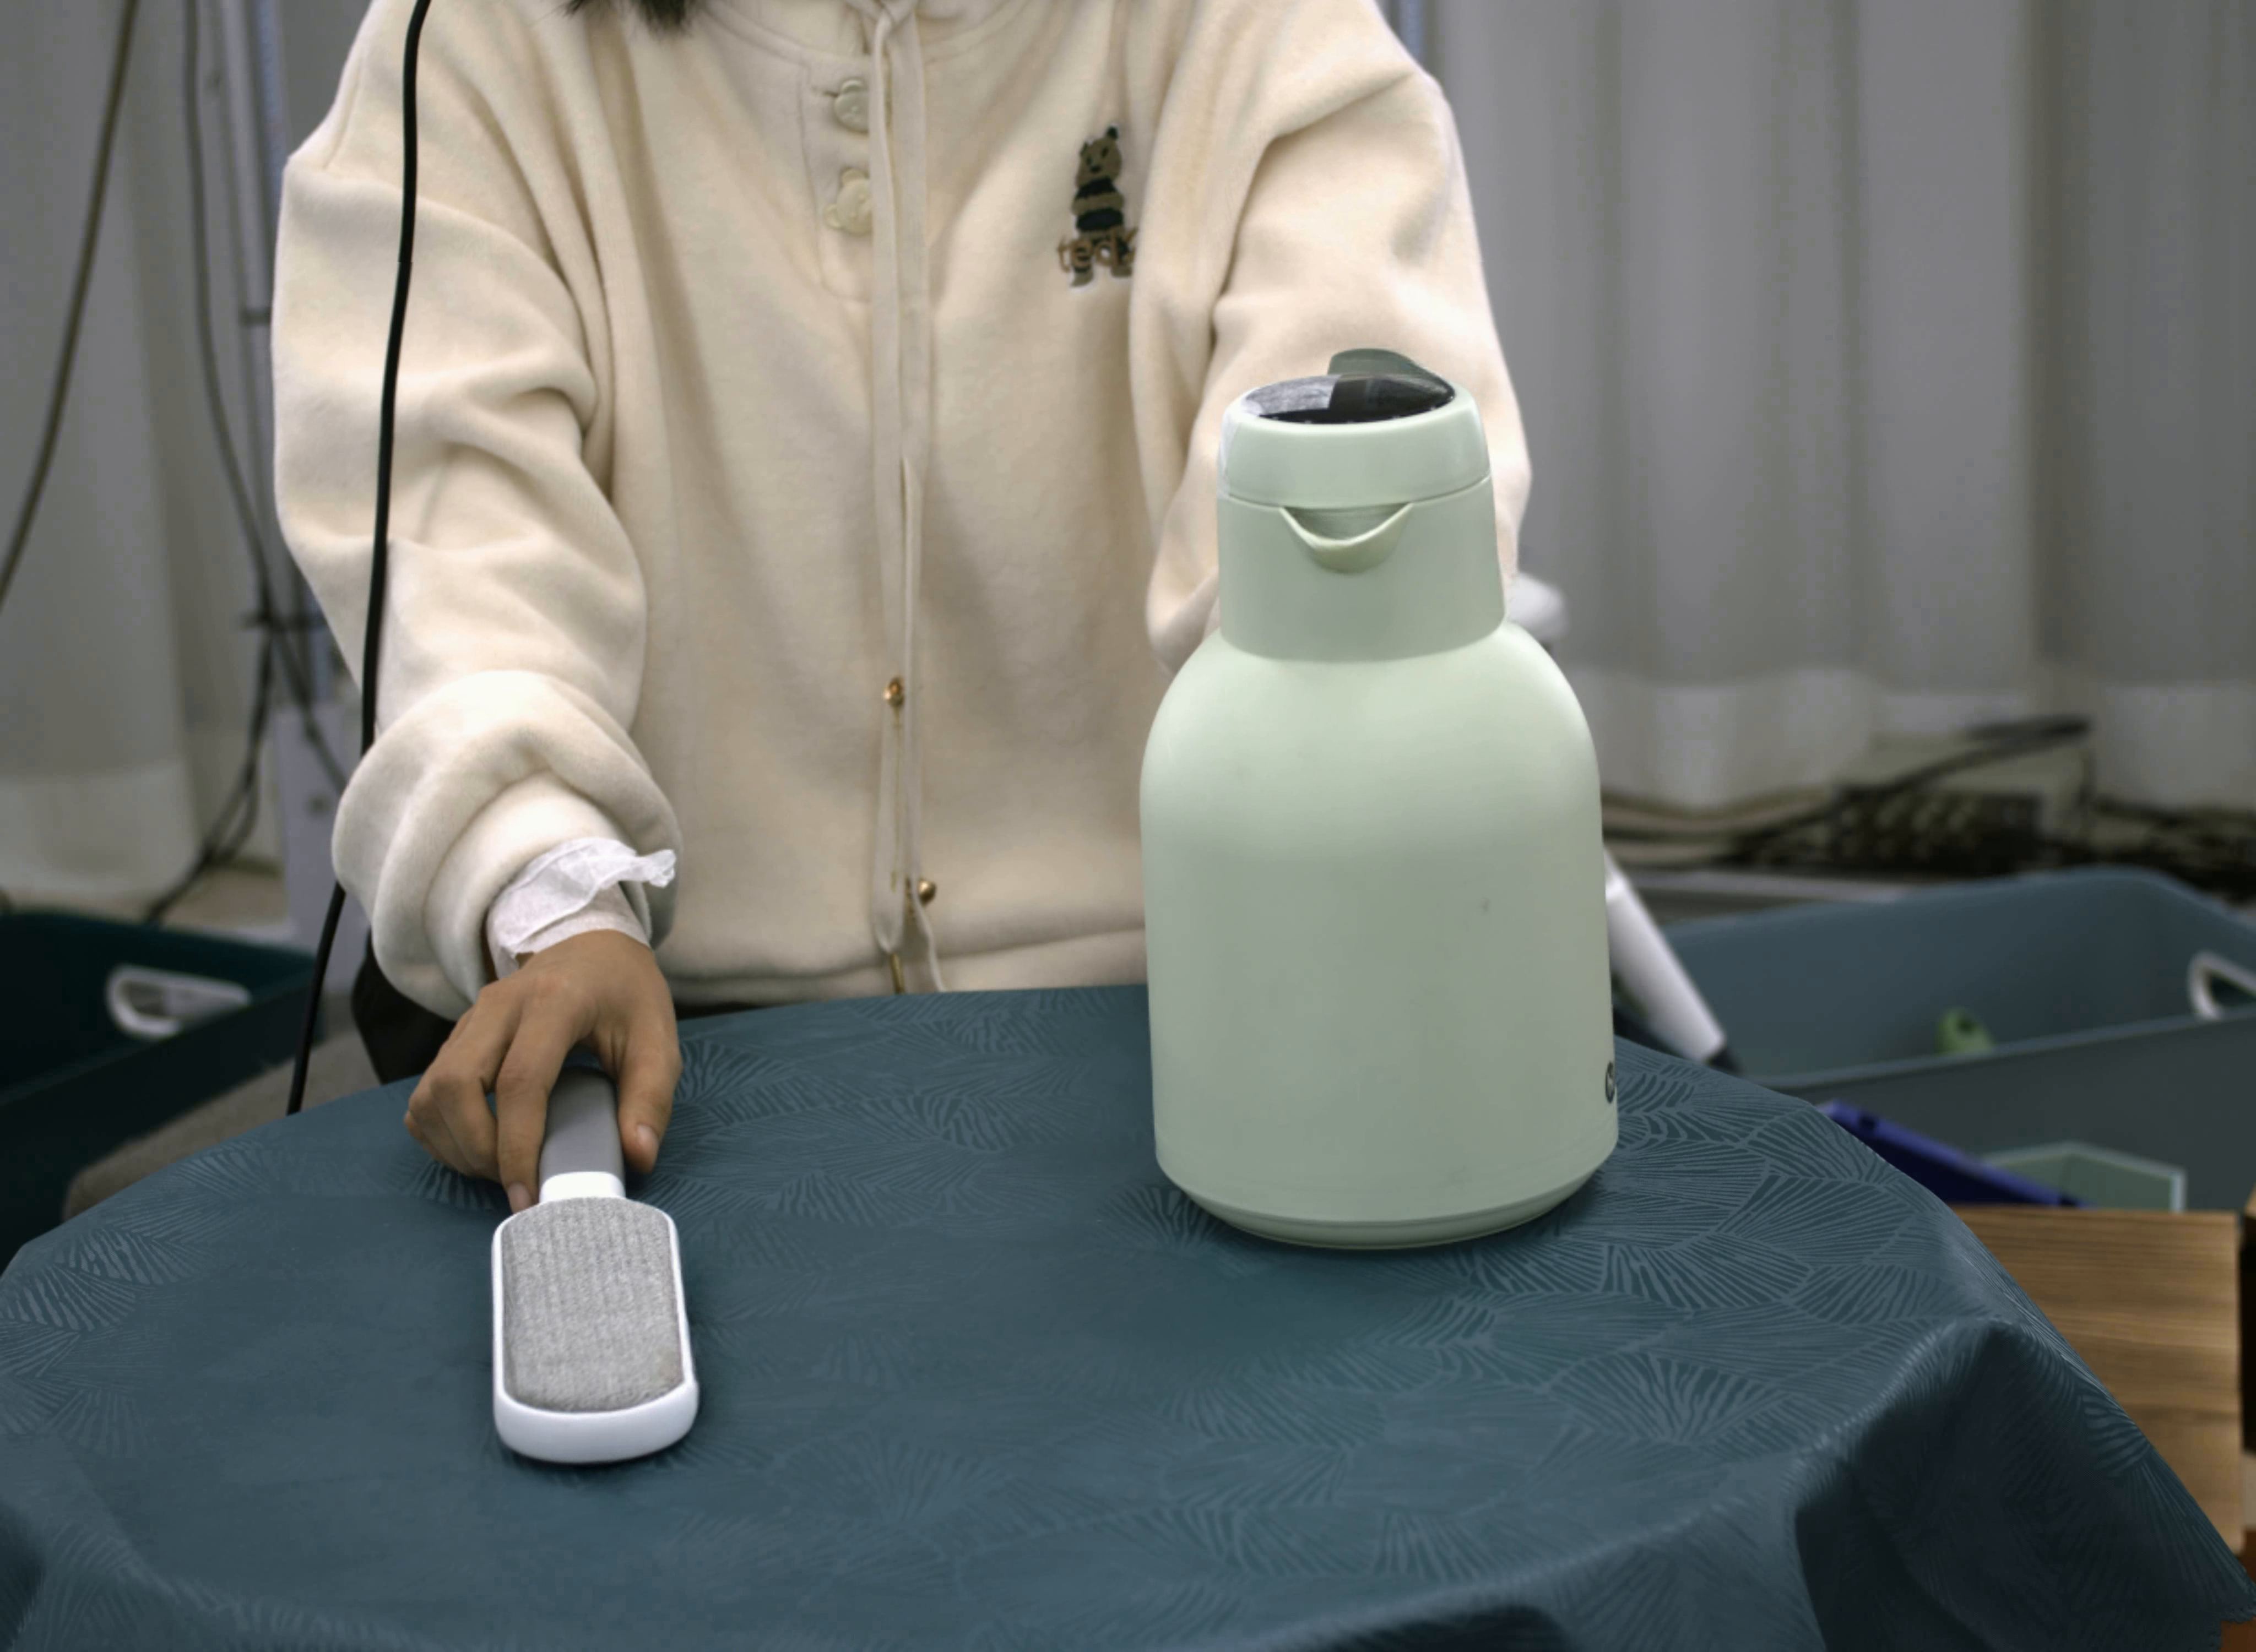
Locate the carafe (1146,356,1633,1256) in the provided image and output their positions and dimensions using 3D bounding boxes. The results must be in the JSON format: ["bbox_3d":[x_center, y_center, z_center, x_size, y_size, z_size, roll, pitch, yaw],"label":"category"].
[{"bbox_3d":[0.077,-0.012,1.684,0.144,0.256,0.187,-3,12,7],"label":"carafe"}]

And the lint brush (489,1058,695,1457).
[{"bbox_3d":[-0.162,0.125,1.646,0.060,0.021,0.311,-5,16,-5],"label":"lint brush"}]
